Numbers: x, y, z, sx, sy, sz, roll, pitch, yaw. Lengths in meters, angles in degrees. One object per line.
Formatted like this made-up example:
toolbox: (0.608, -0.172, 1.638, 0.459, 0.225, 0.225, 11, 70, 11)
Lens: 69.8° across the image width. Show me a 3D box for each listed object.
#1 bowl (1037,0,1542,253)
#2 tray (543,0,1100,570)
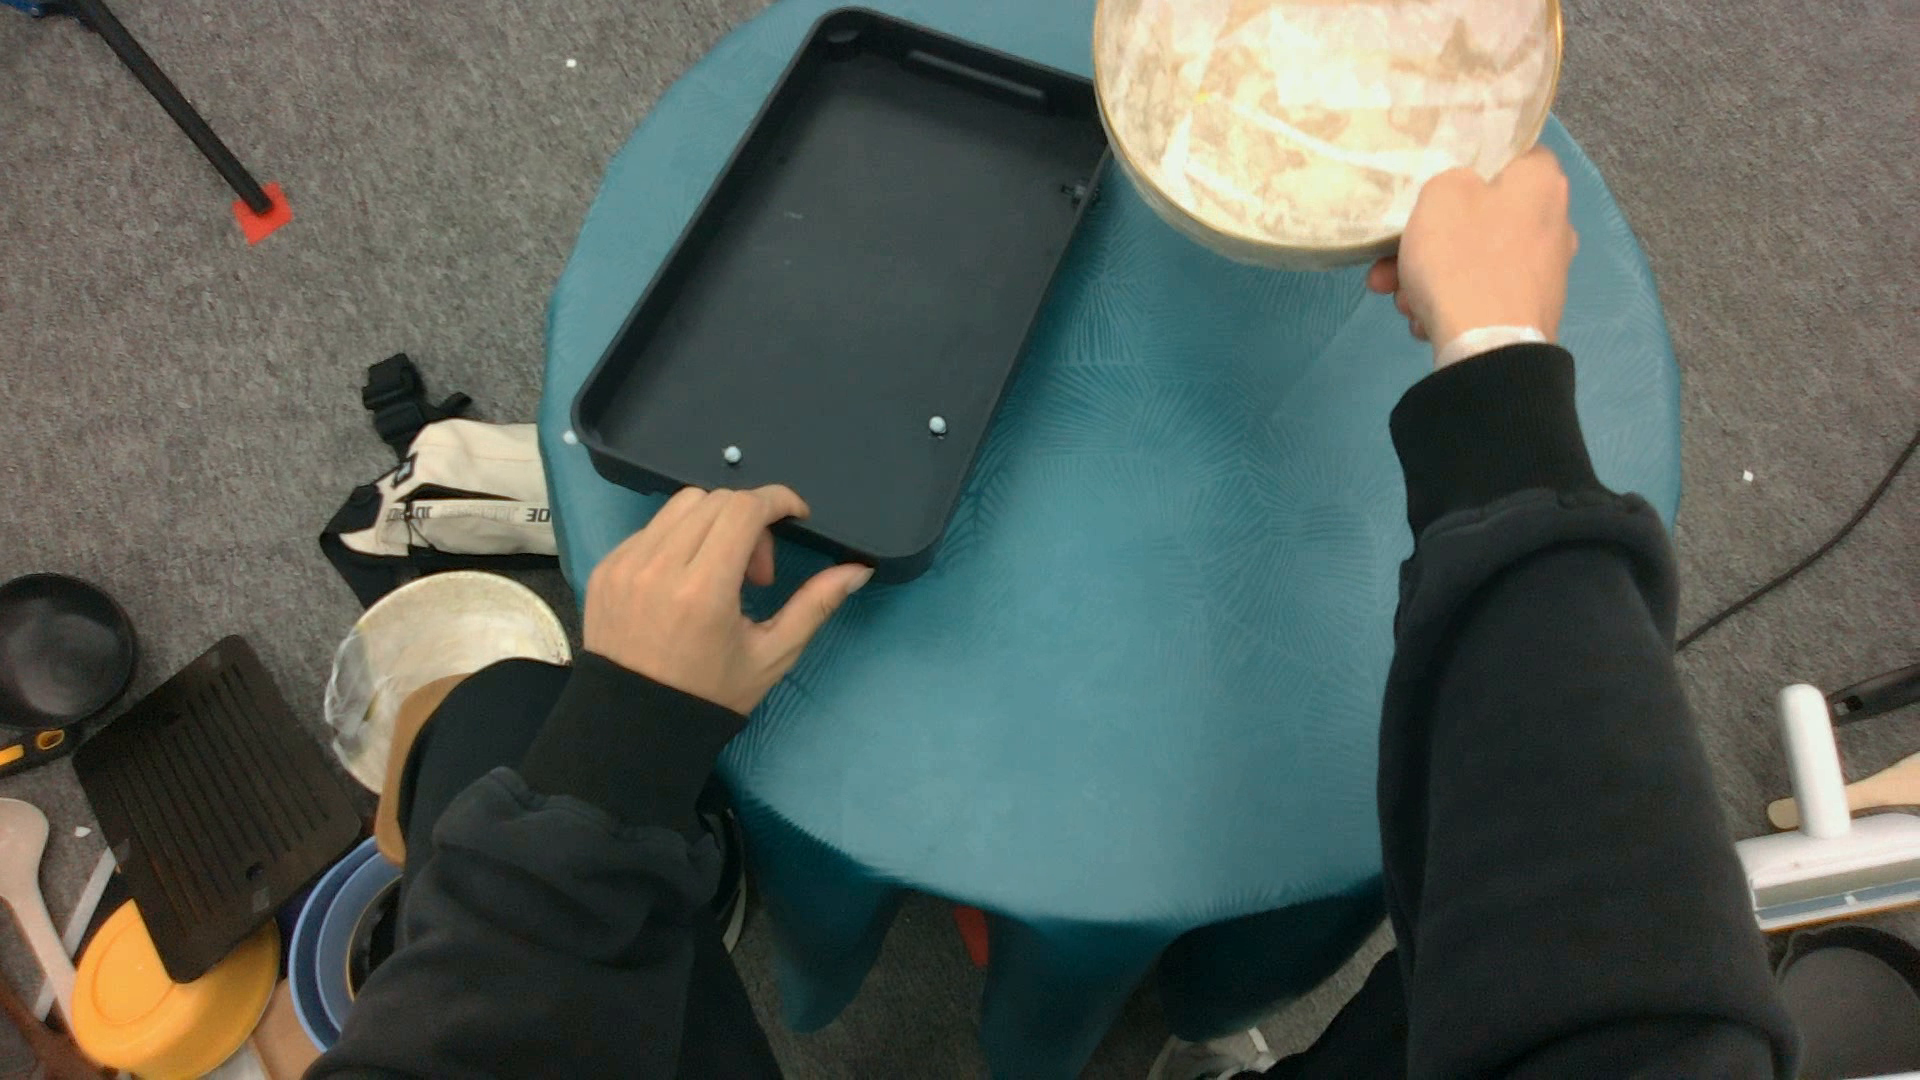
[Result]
bowl: (0.146, -0.216, 0.635, 0.214, 0.094, 0.215, -1, 79, 5)
tray: (-0.057, -0.147, 0.703, 0.184, 0.037, 0.319, 22, 63, 5)
